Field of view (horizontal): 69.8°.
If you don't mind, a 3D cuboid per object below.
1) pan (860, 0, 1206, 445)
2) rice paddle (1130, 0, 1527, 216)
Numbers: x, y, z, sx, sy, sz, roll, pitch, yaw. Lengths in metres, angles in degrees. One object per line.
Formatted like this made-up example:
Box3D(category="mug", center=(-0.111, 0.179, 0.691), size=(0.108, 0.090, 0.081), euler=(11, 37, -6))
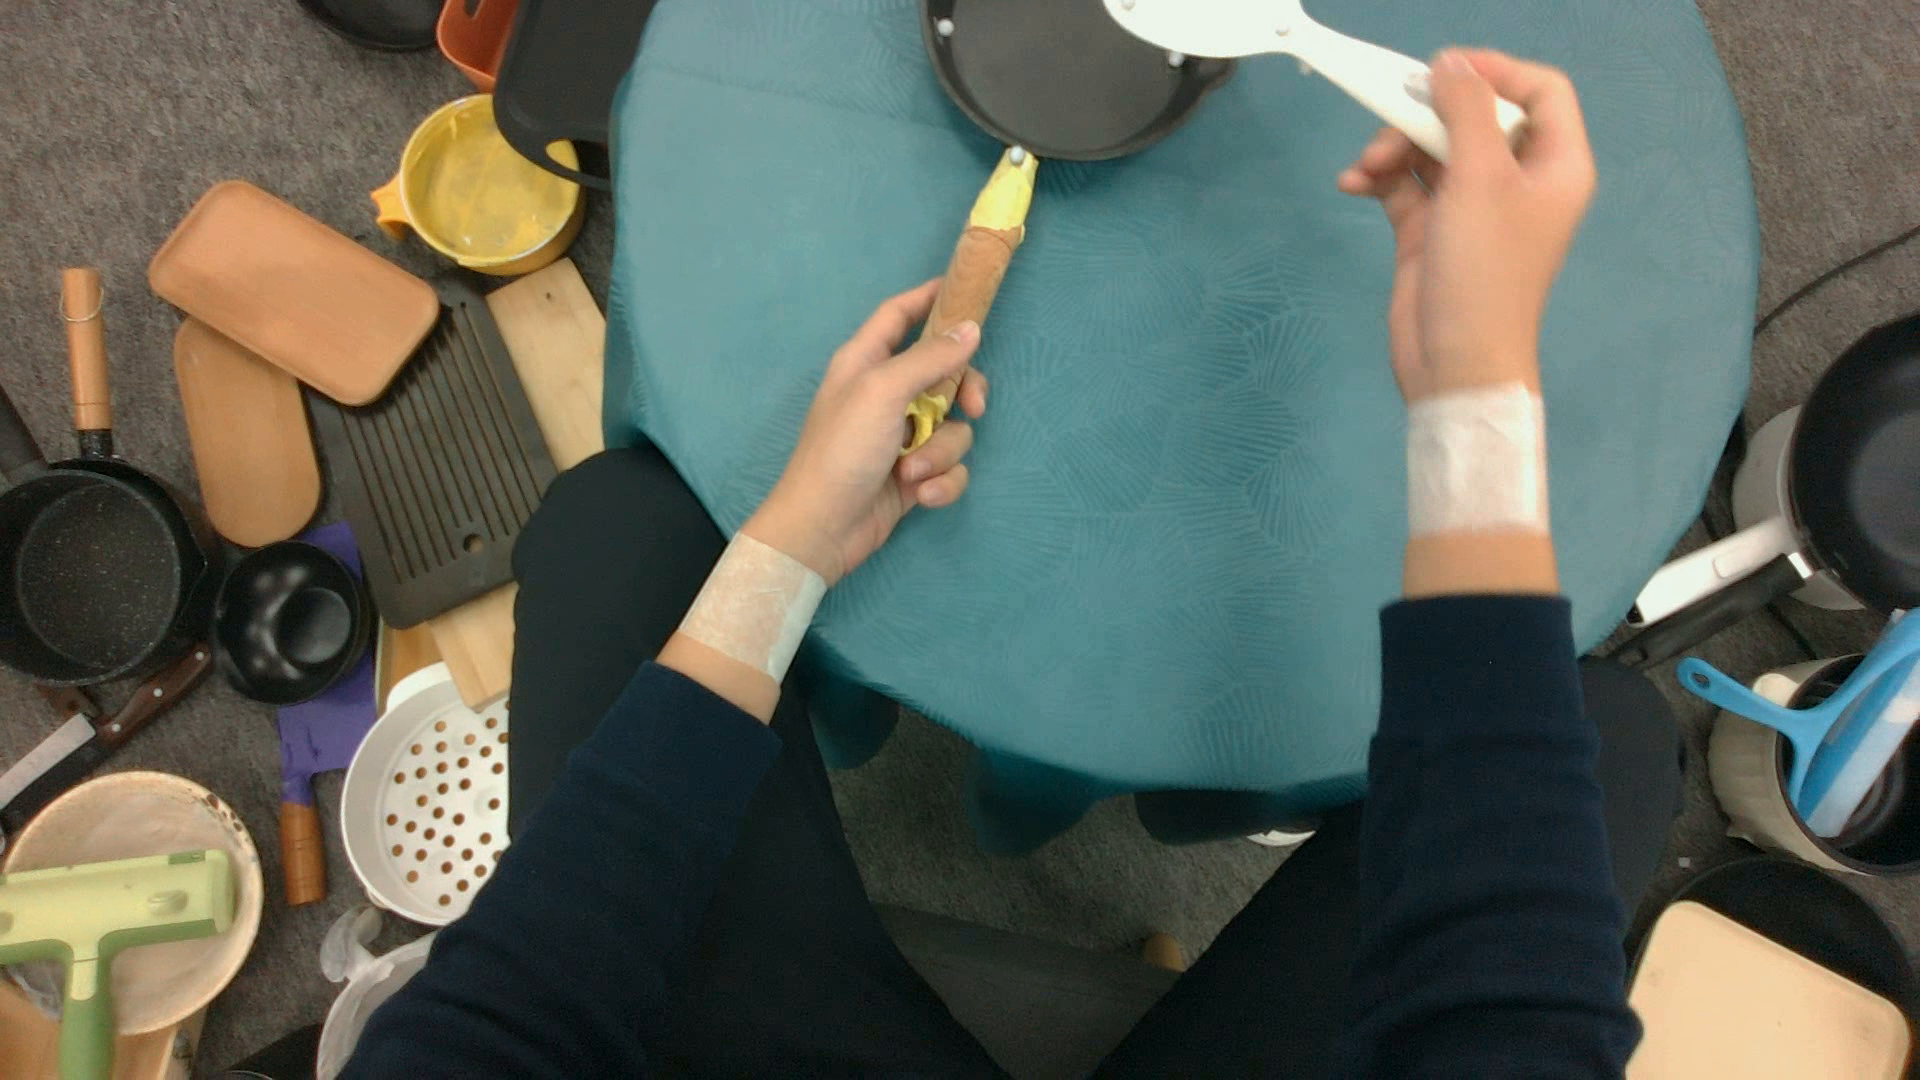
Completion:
Box3D(category="pan", center=(0.014, -0.194, 0.683), size=(0.169, 0.049, 0.325), euler=(22, 79, -2))
Box3D(category="rice paddle", center=(0.152, -0.213, 0.597), size=(0.205, 0.029, 0.069), euler=(41, 80, 13))
